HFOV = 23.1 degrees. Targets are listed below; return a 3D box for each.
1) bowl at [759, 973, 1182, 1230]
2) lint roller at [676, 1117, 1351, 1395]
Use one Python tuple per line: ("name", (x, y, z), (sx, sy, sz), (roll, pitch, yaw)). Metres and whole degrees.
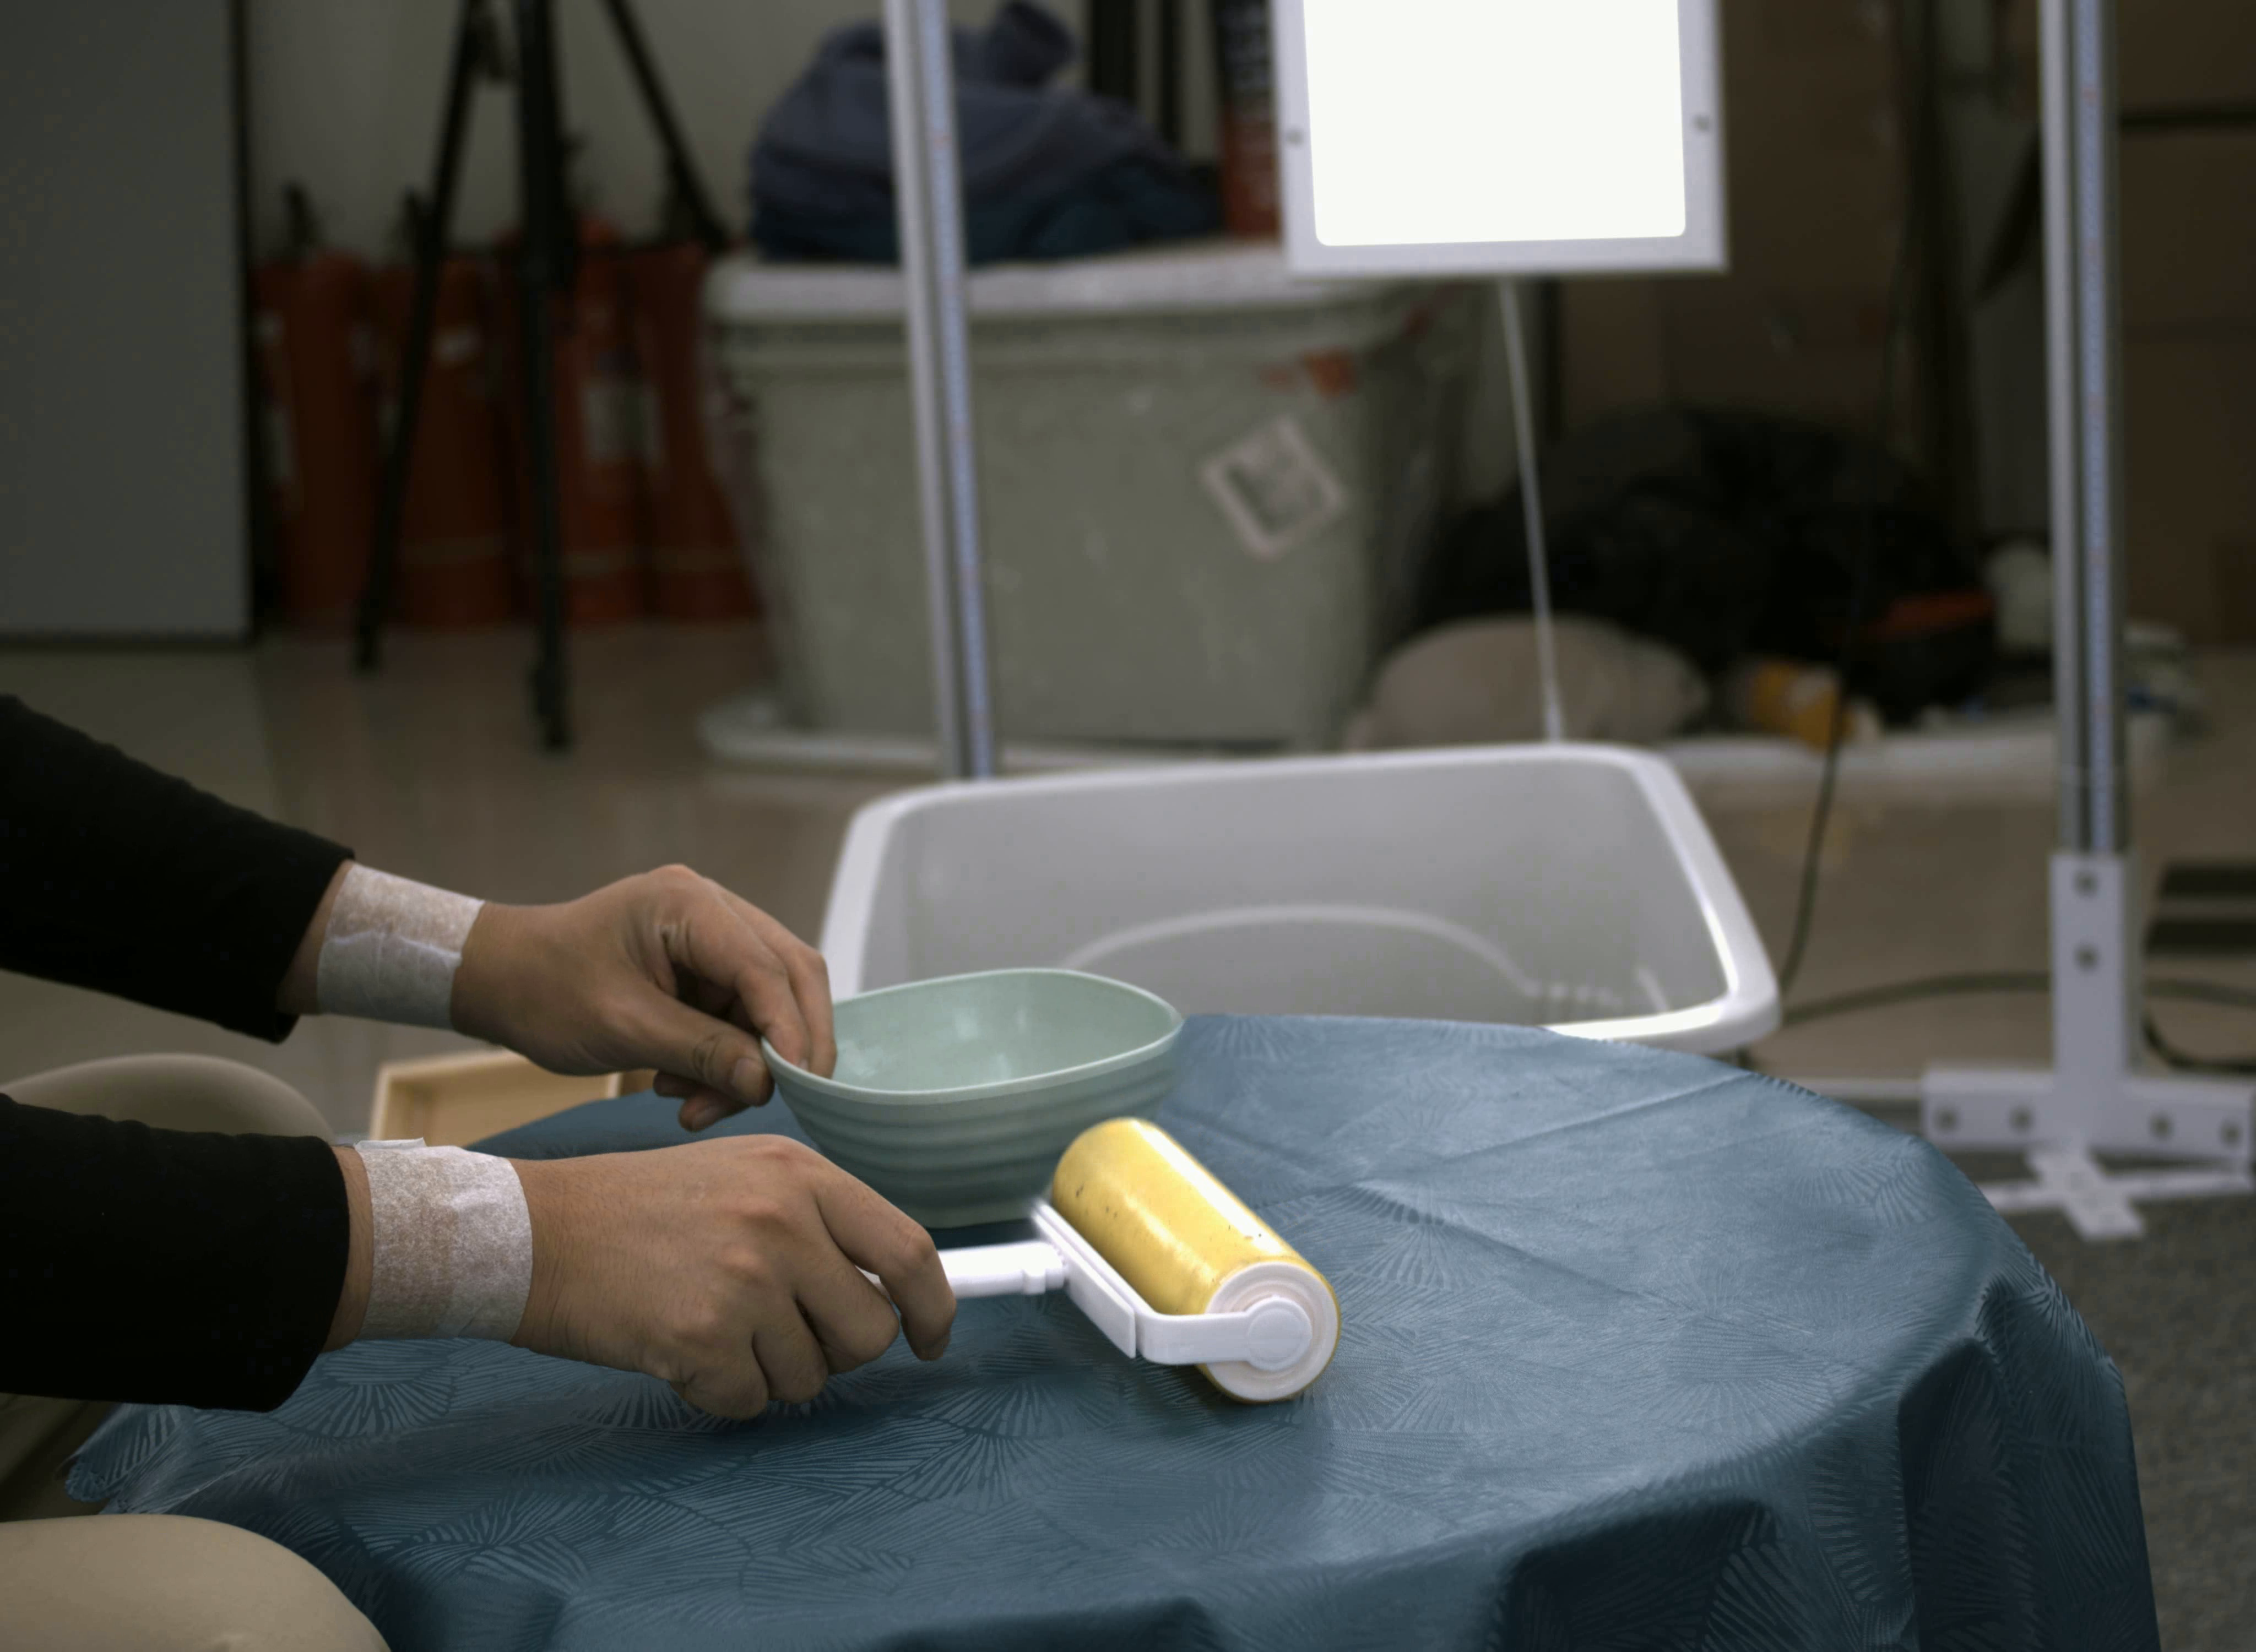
("bowl", (-0.054, 0.098, 1.914), (0.151, 0.059, 0.151), (-3, 14, -1))
("lint roller", (-0.046, 0.130, 1.725), (0.189, 0.052, 0.176), (6, 10, -19))
